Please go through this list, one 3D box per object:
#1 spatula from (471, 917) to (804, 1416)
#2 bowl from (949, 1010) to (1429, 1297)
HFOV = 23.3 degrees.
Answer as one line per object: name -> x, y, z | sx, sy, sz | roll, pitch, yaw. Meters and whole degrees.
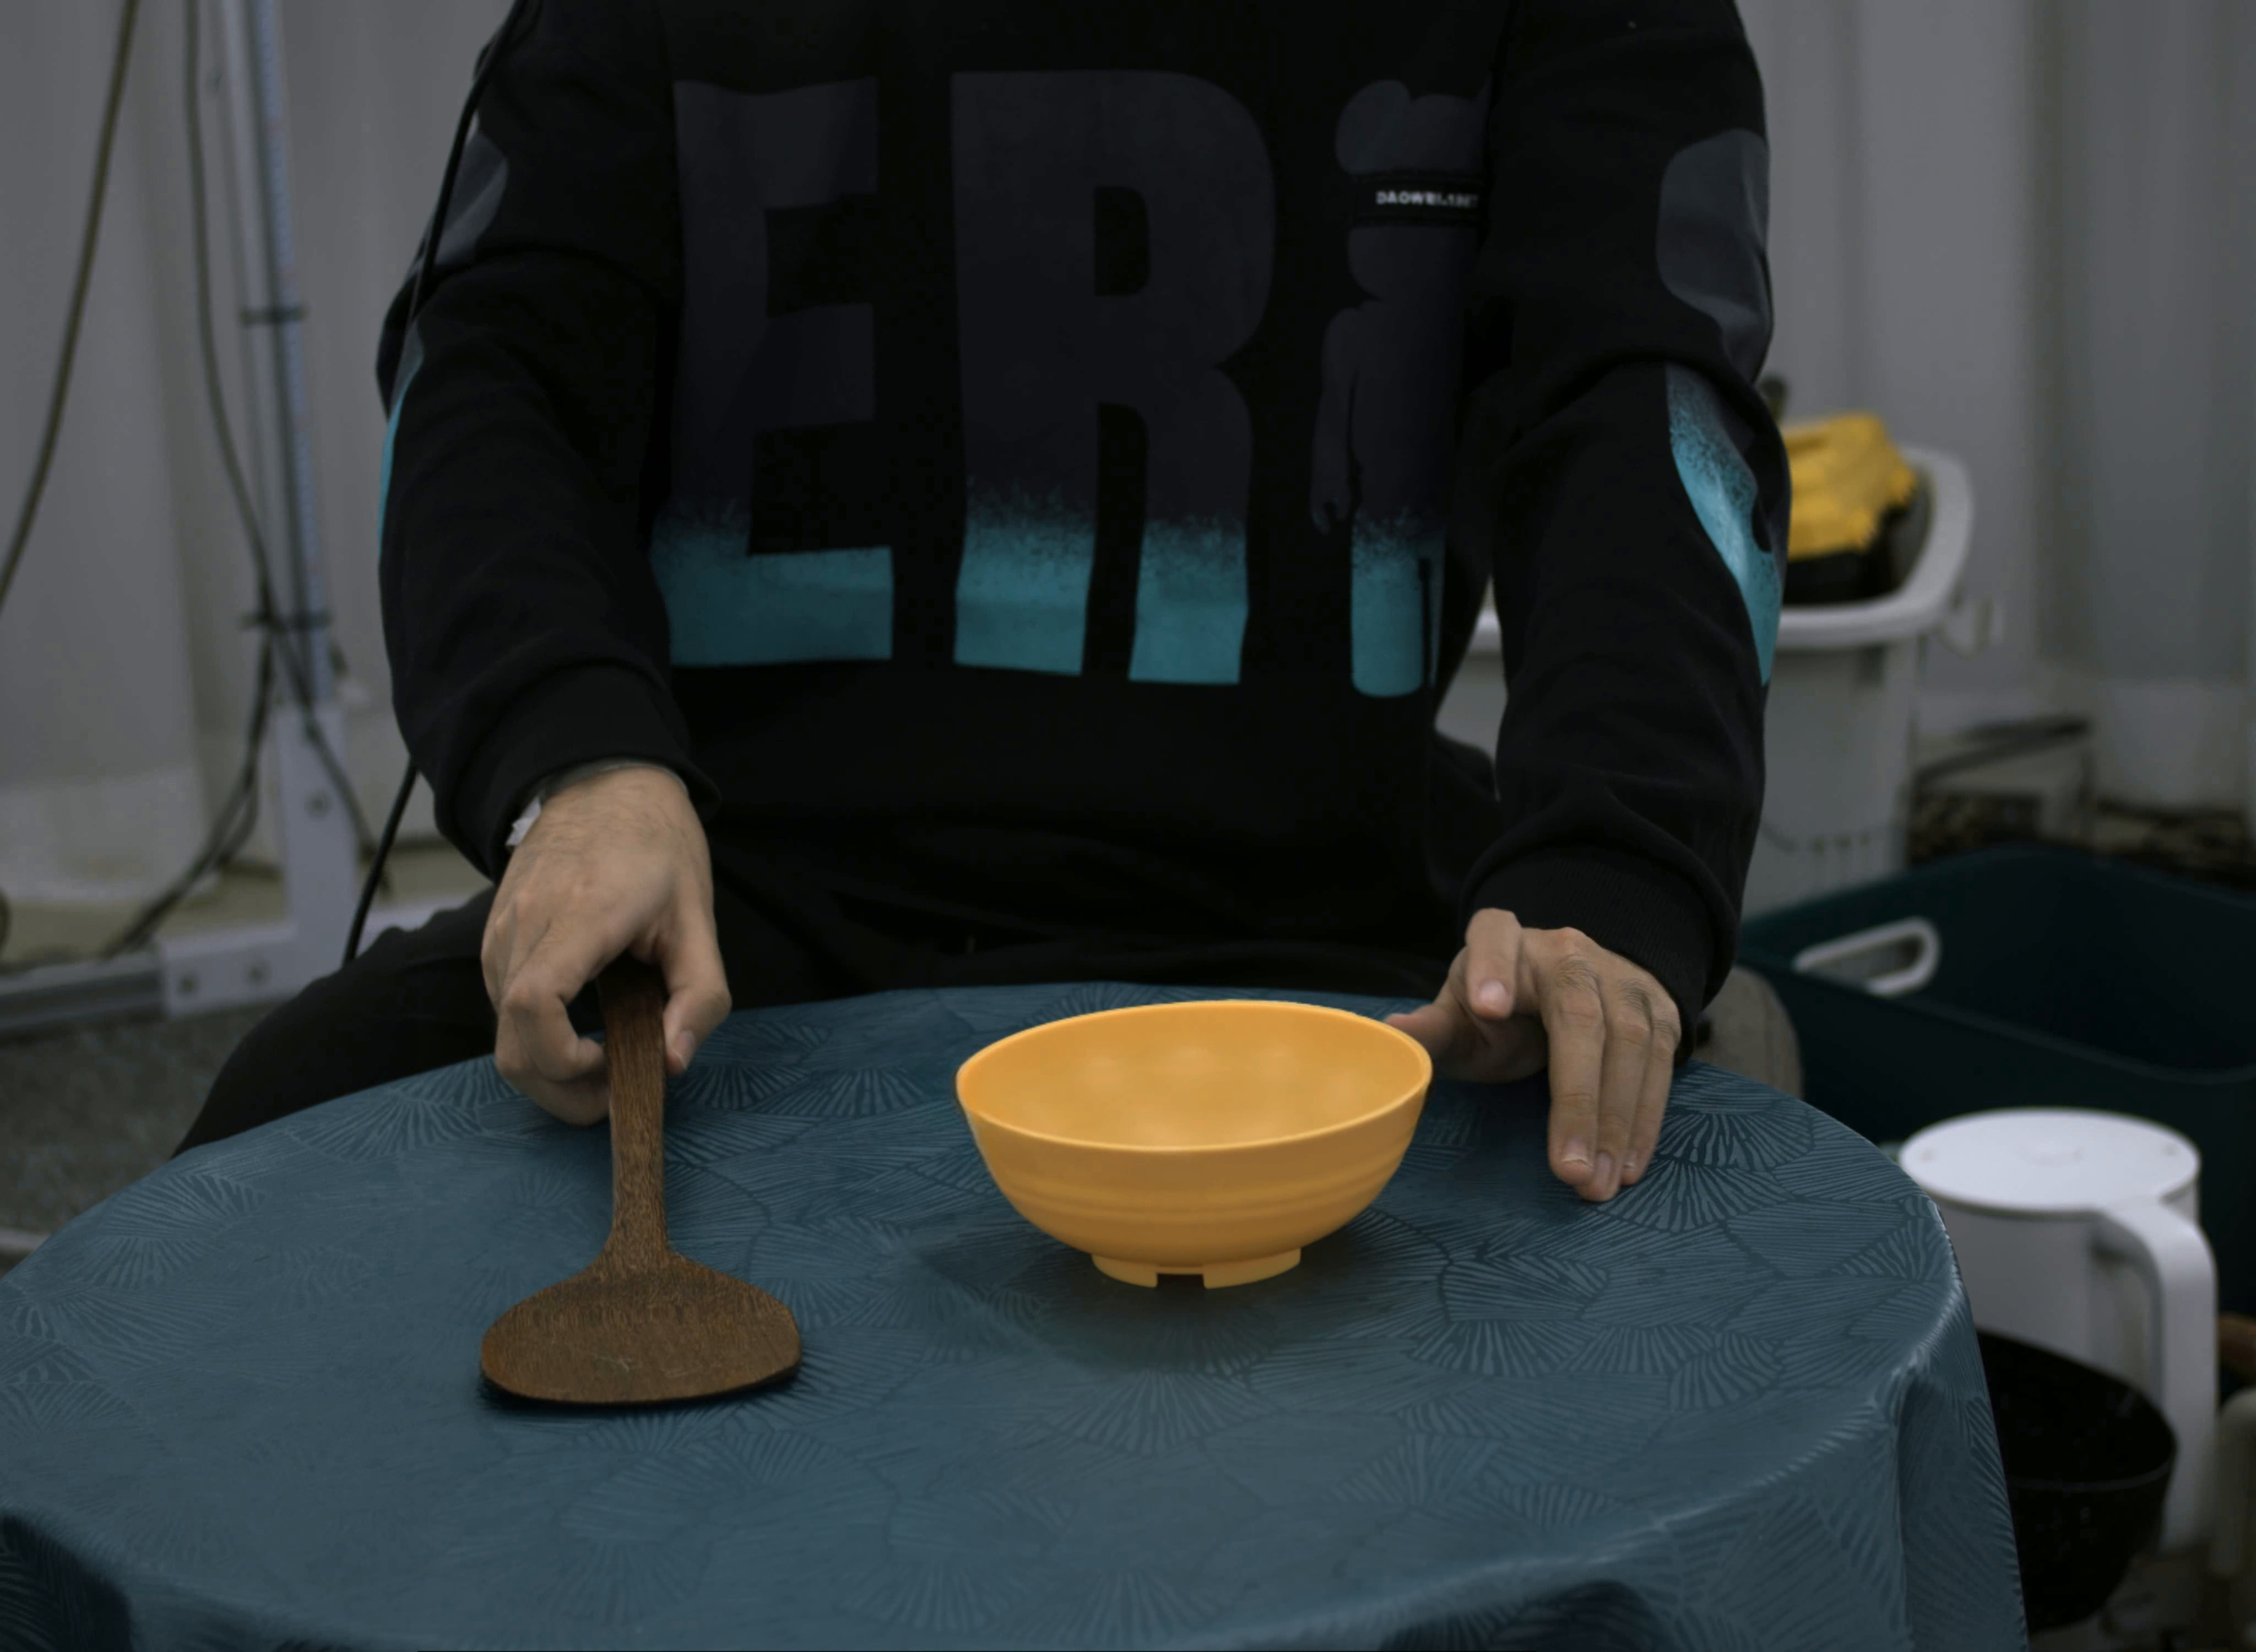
spatula -> -0.155, 0.099, 1.727 | 0.096, 0.015, 0.390 | -3, 21, -4
bowl -> 0.018, 0.104, 1.648 | 0.145, 0.060, 0.146 | 0, 14, 0
